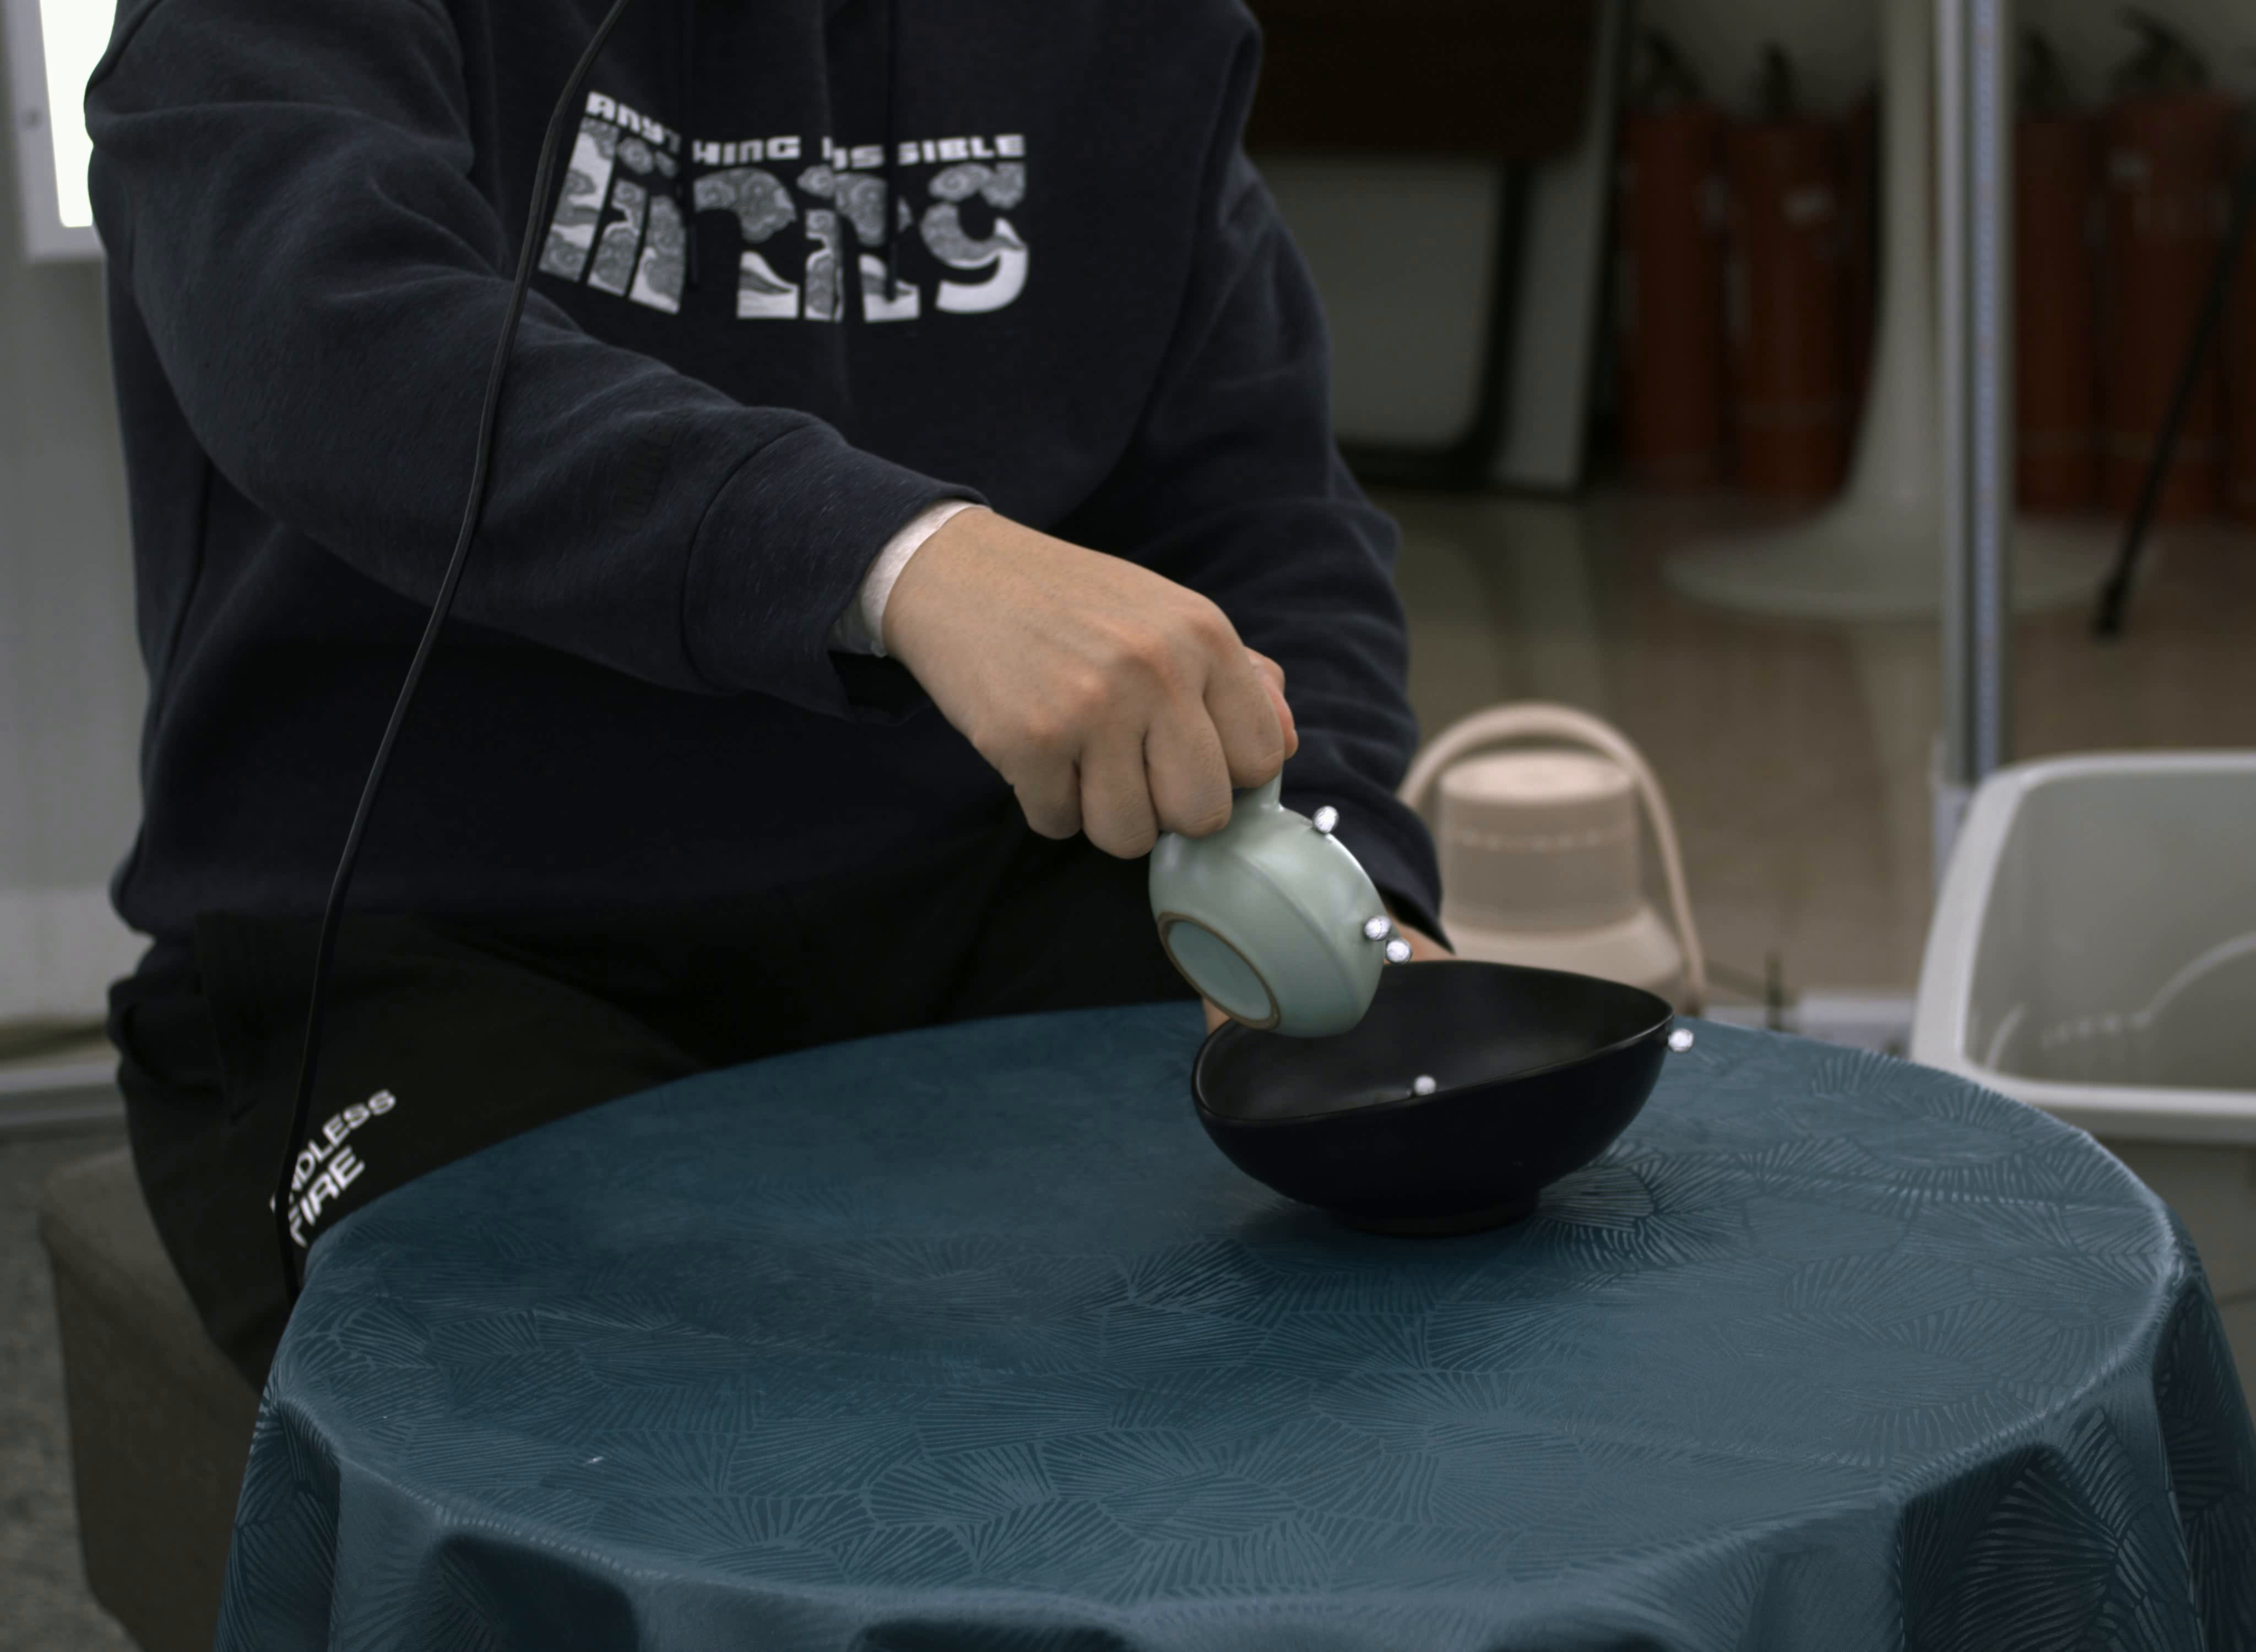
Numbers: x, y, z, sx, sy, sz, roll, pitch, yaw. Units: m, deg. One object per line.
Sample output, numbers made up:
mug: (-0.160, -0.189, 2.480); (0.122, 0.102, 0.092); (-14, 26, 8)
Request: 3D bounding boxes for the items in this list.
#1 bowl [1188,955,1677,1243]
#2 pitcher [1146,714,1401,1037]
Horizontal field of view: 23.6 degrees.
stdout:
bowl: (0.100, 0.093, 1.732); (0.166, 0.067, 0.139); (-14, 16, -33)
pitcher: (0.040, 0.017, 1.669); (0.060, 0.107, 0.087); (-47, 30, -21)
